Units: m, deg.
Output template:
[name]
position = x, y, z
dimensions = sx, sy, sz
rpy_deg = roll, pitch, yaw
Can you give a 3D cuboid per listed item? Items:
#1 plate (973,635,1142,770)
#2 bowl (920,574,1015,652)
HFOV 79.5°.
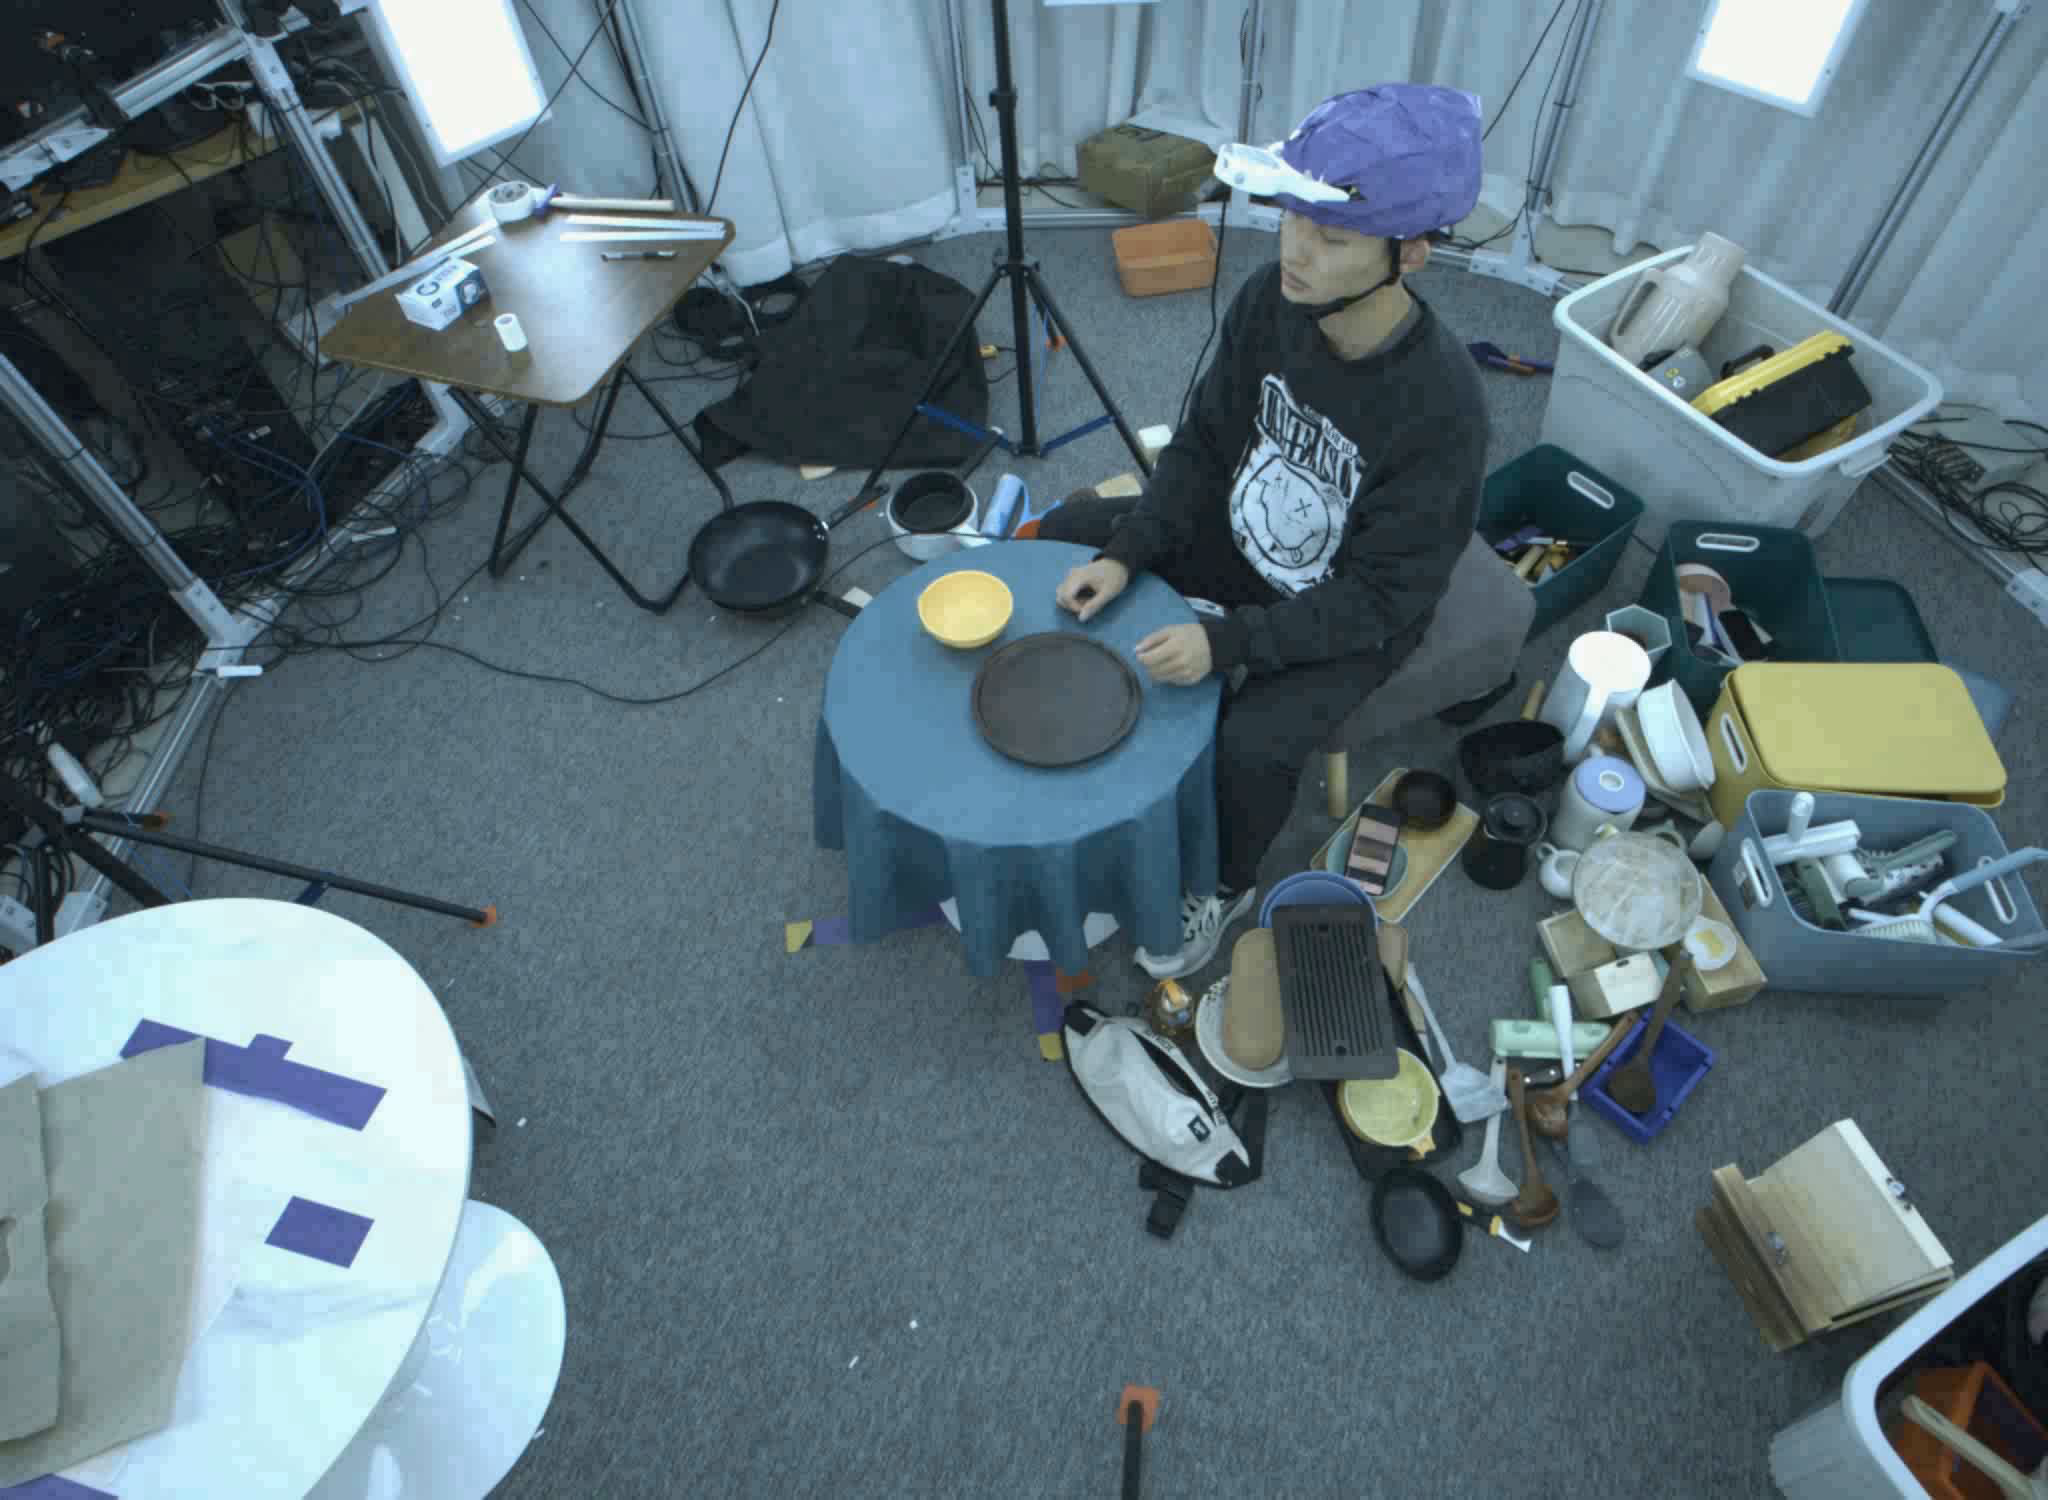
[plate]
position = 0.050, -0.072, 1.834
dimensions = 0.254, 0.029, 0.252
rpy_deg = -1, 53, 3
[bowl]
position = -0.087, -0.201, 1.908
dimensions = 0.145, 0.060, 0.144
rpy_deg = 1, 55, 0
